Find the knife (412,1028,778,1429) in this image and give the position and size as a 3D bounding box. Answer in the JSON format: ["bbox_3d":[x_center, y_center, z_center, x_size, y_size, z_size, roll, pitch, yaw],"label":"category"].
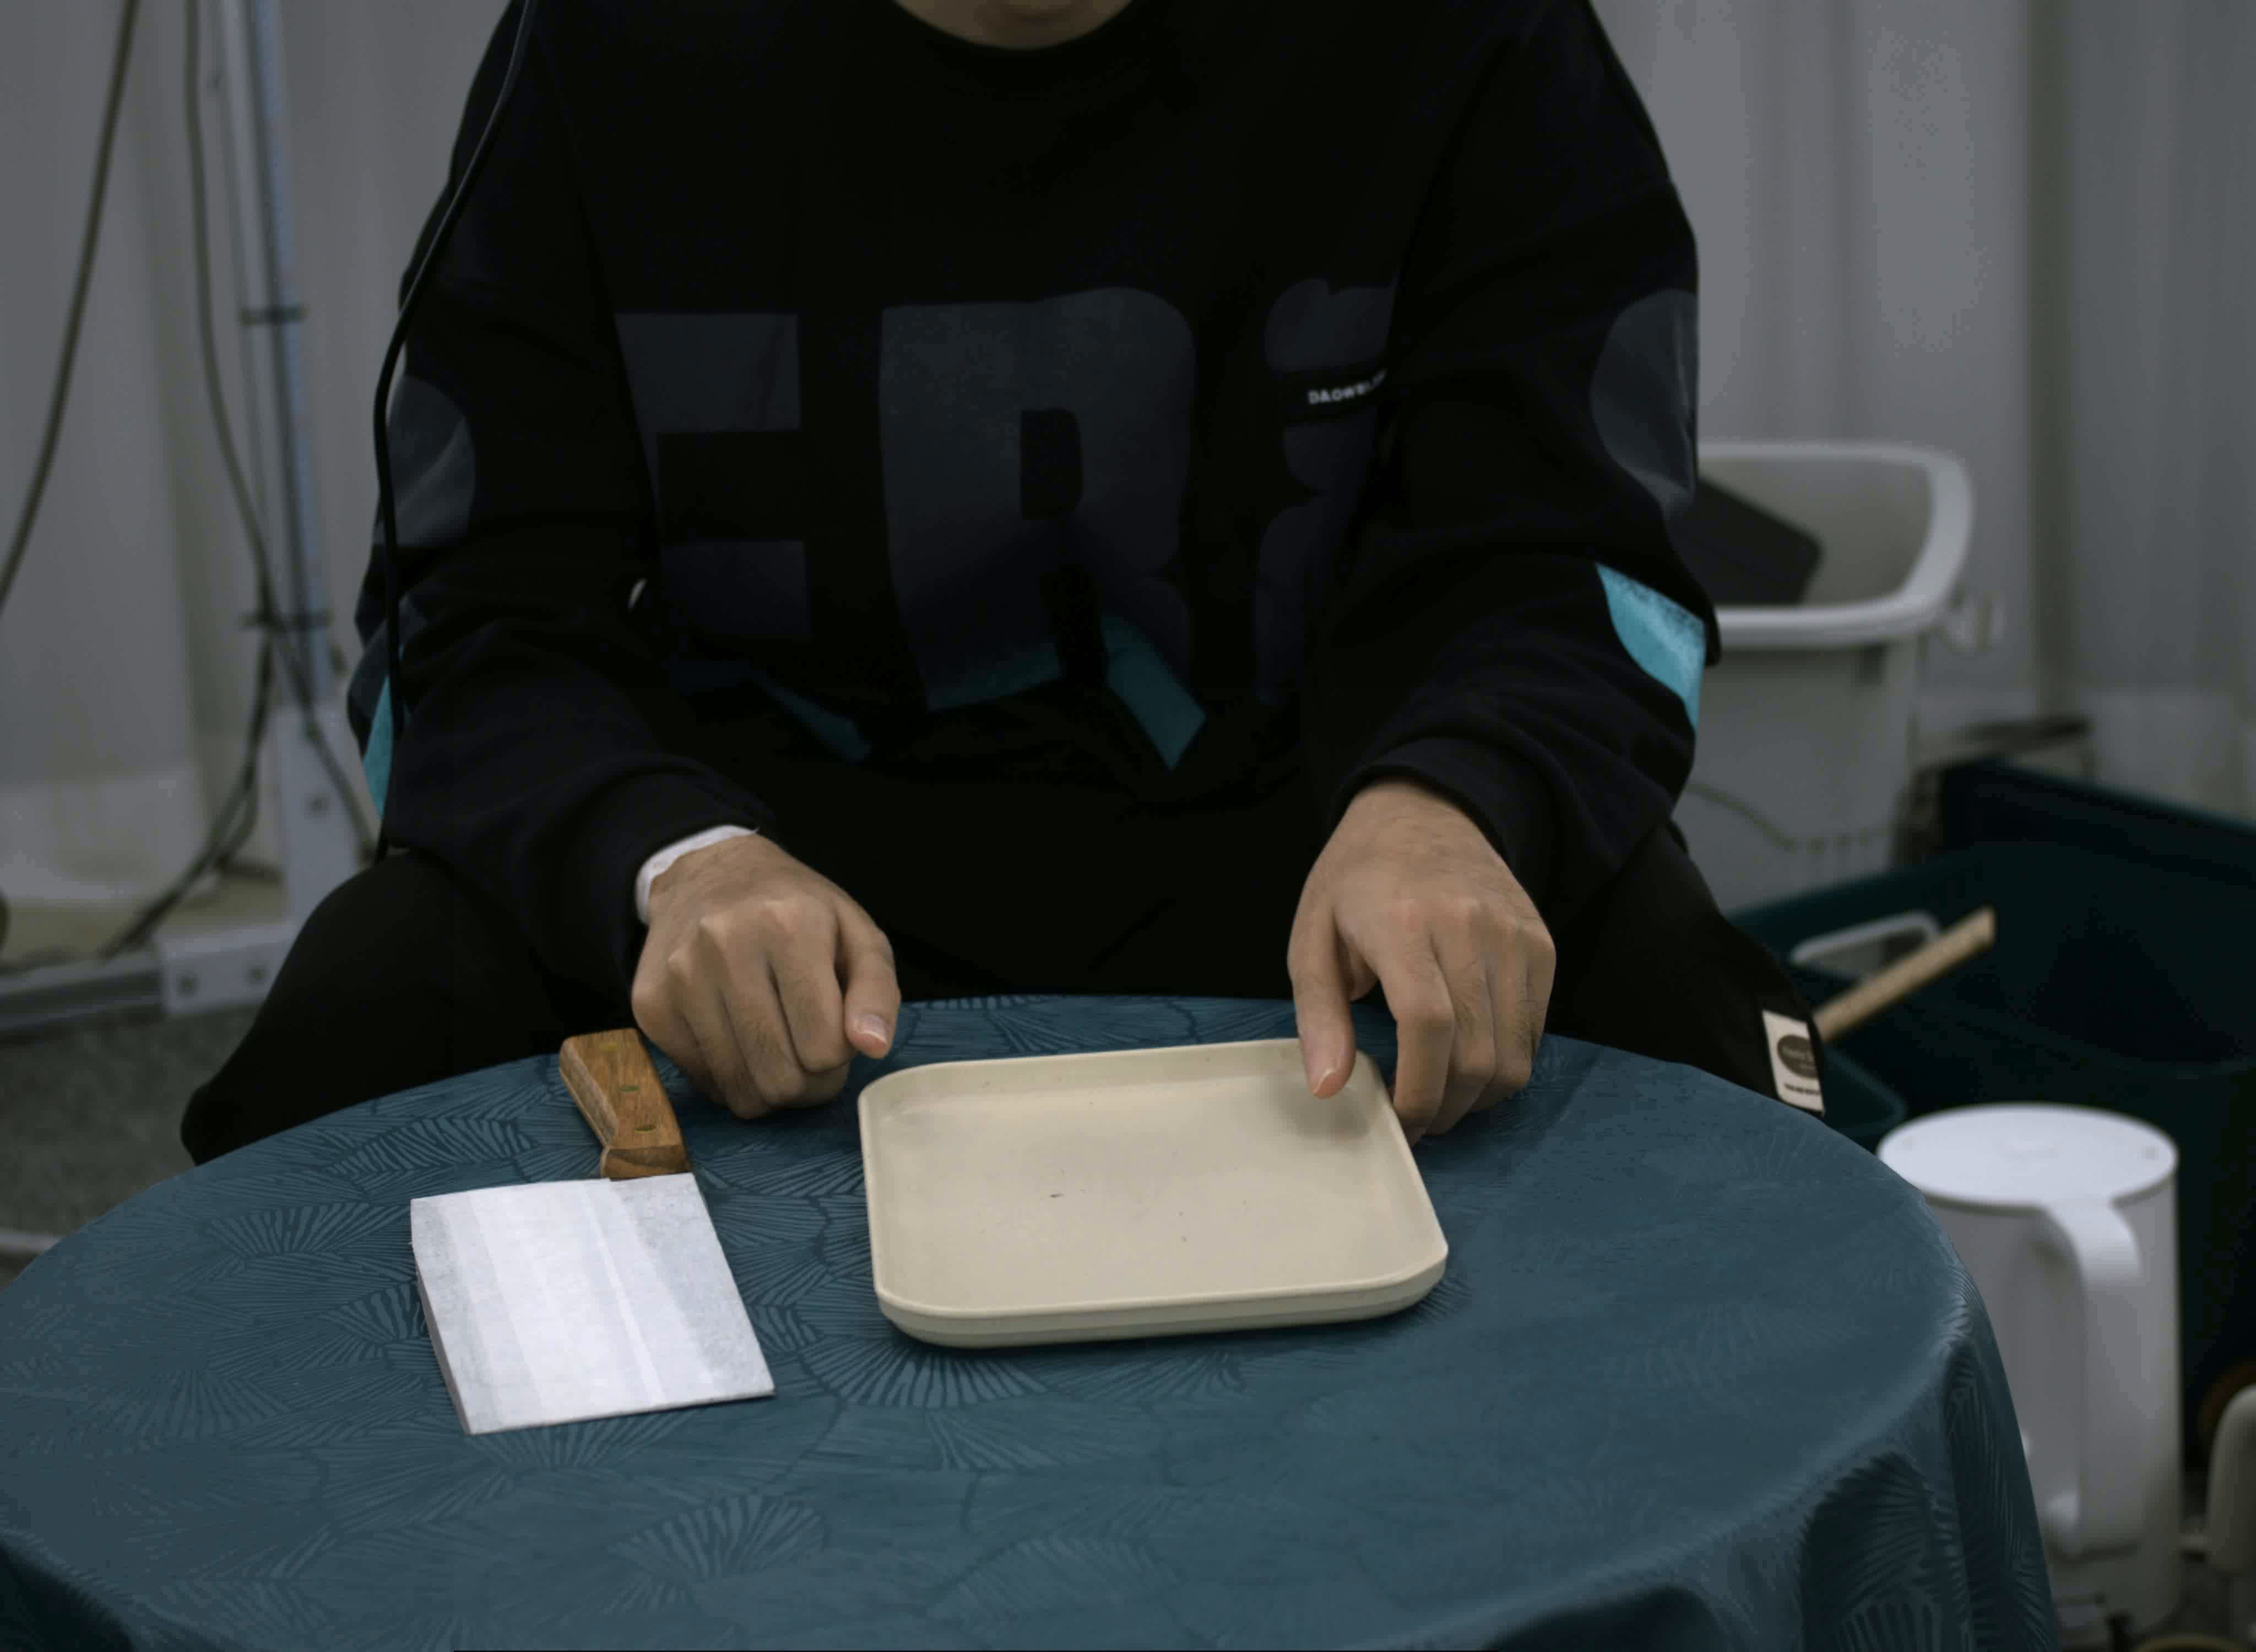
[{"bbox_3d":[-0.173,0.123,1.689,0.092,0.021,0.308,-7,18,-10],"label":"knife"}]

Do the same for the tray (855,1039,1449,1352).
[{"bbox_3d":[0.003,0.113,1.687,0.170,0.017,0.241,-5,15,-3],"label":"tray"}]
